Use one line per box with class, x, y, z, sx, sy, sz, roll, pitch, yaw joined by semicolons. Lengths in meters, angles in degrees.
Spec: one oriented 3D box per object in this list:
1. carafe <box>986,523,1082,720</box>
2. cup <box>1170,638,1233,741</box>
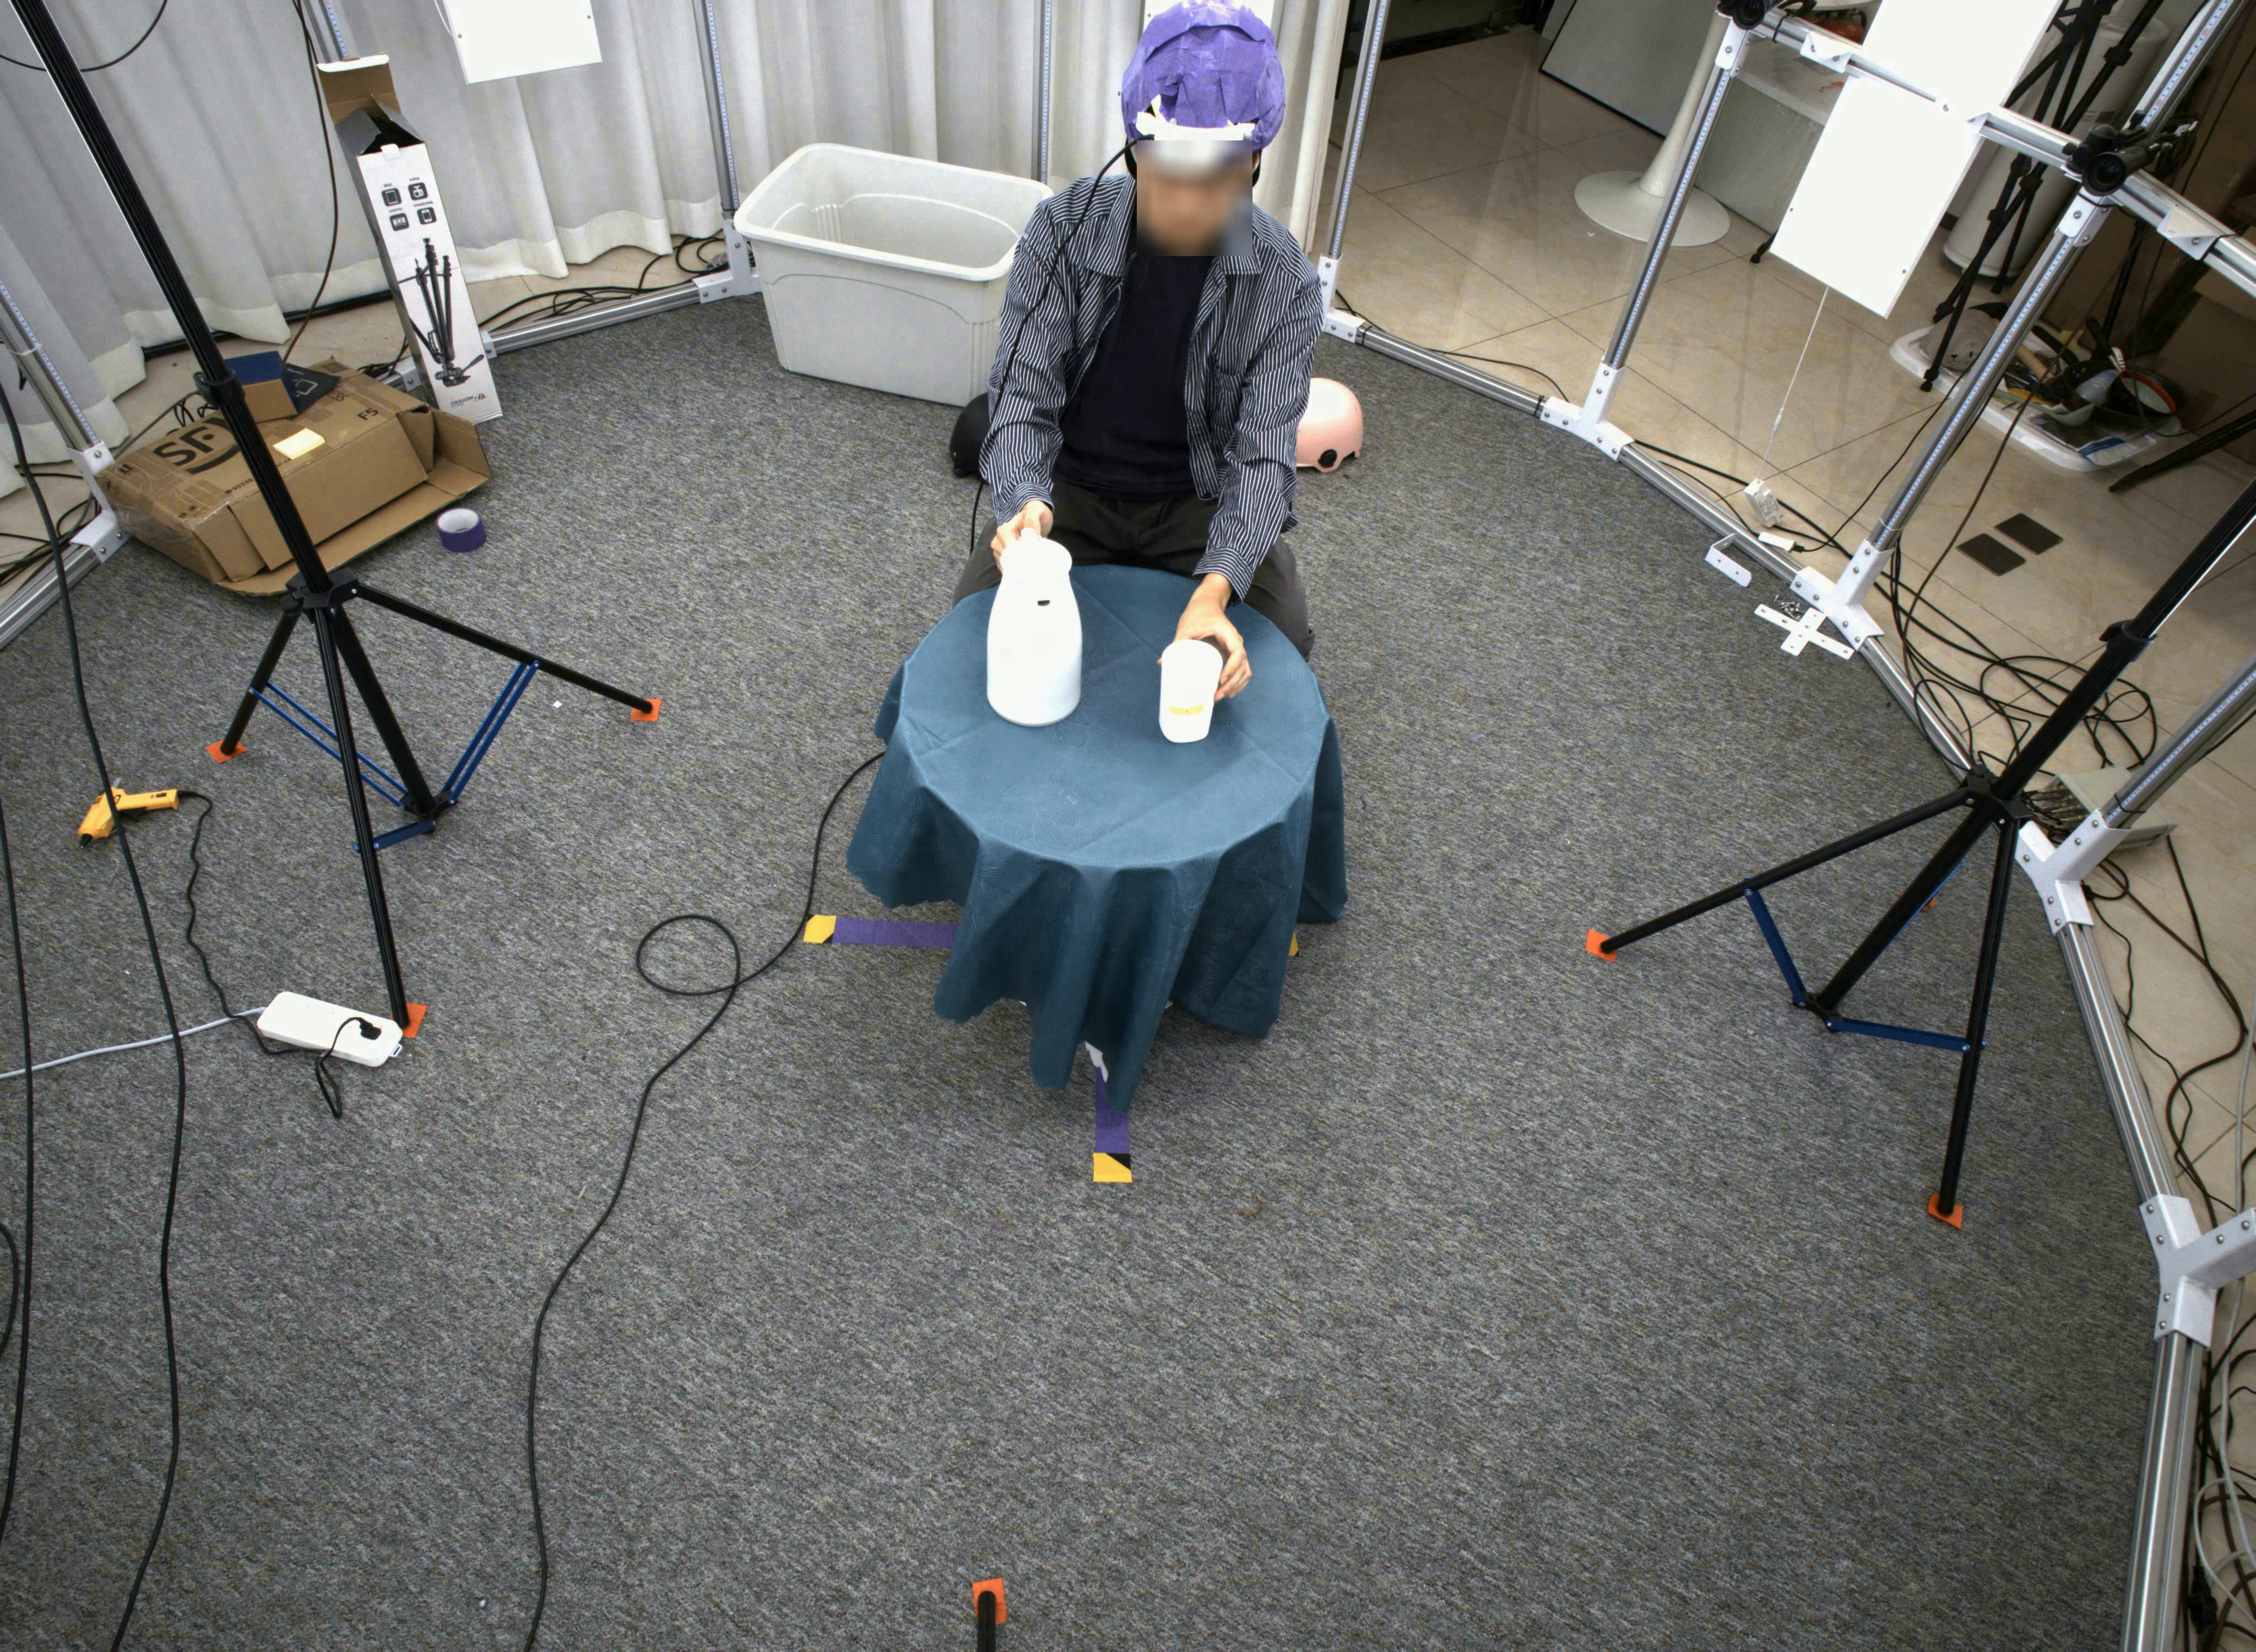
carafe;-0.133;-0.286;1.730;0.132;0.243;0.172;-13;54;-14
cup;0.096;-0.182;1.740;0.081;0.122;0.084;2;49;-2
